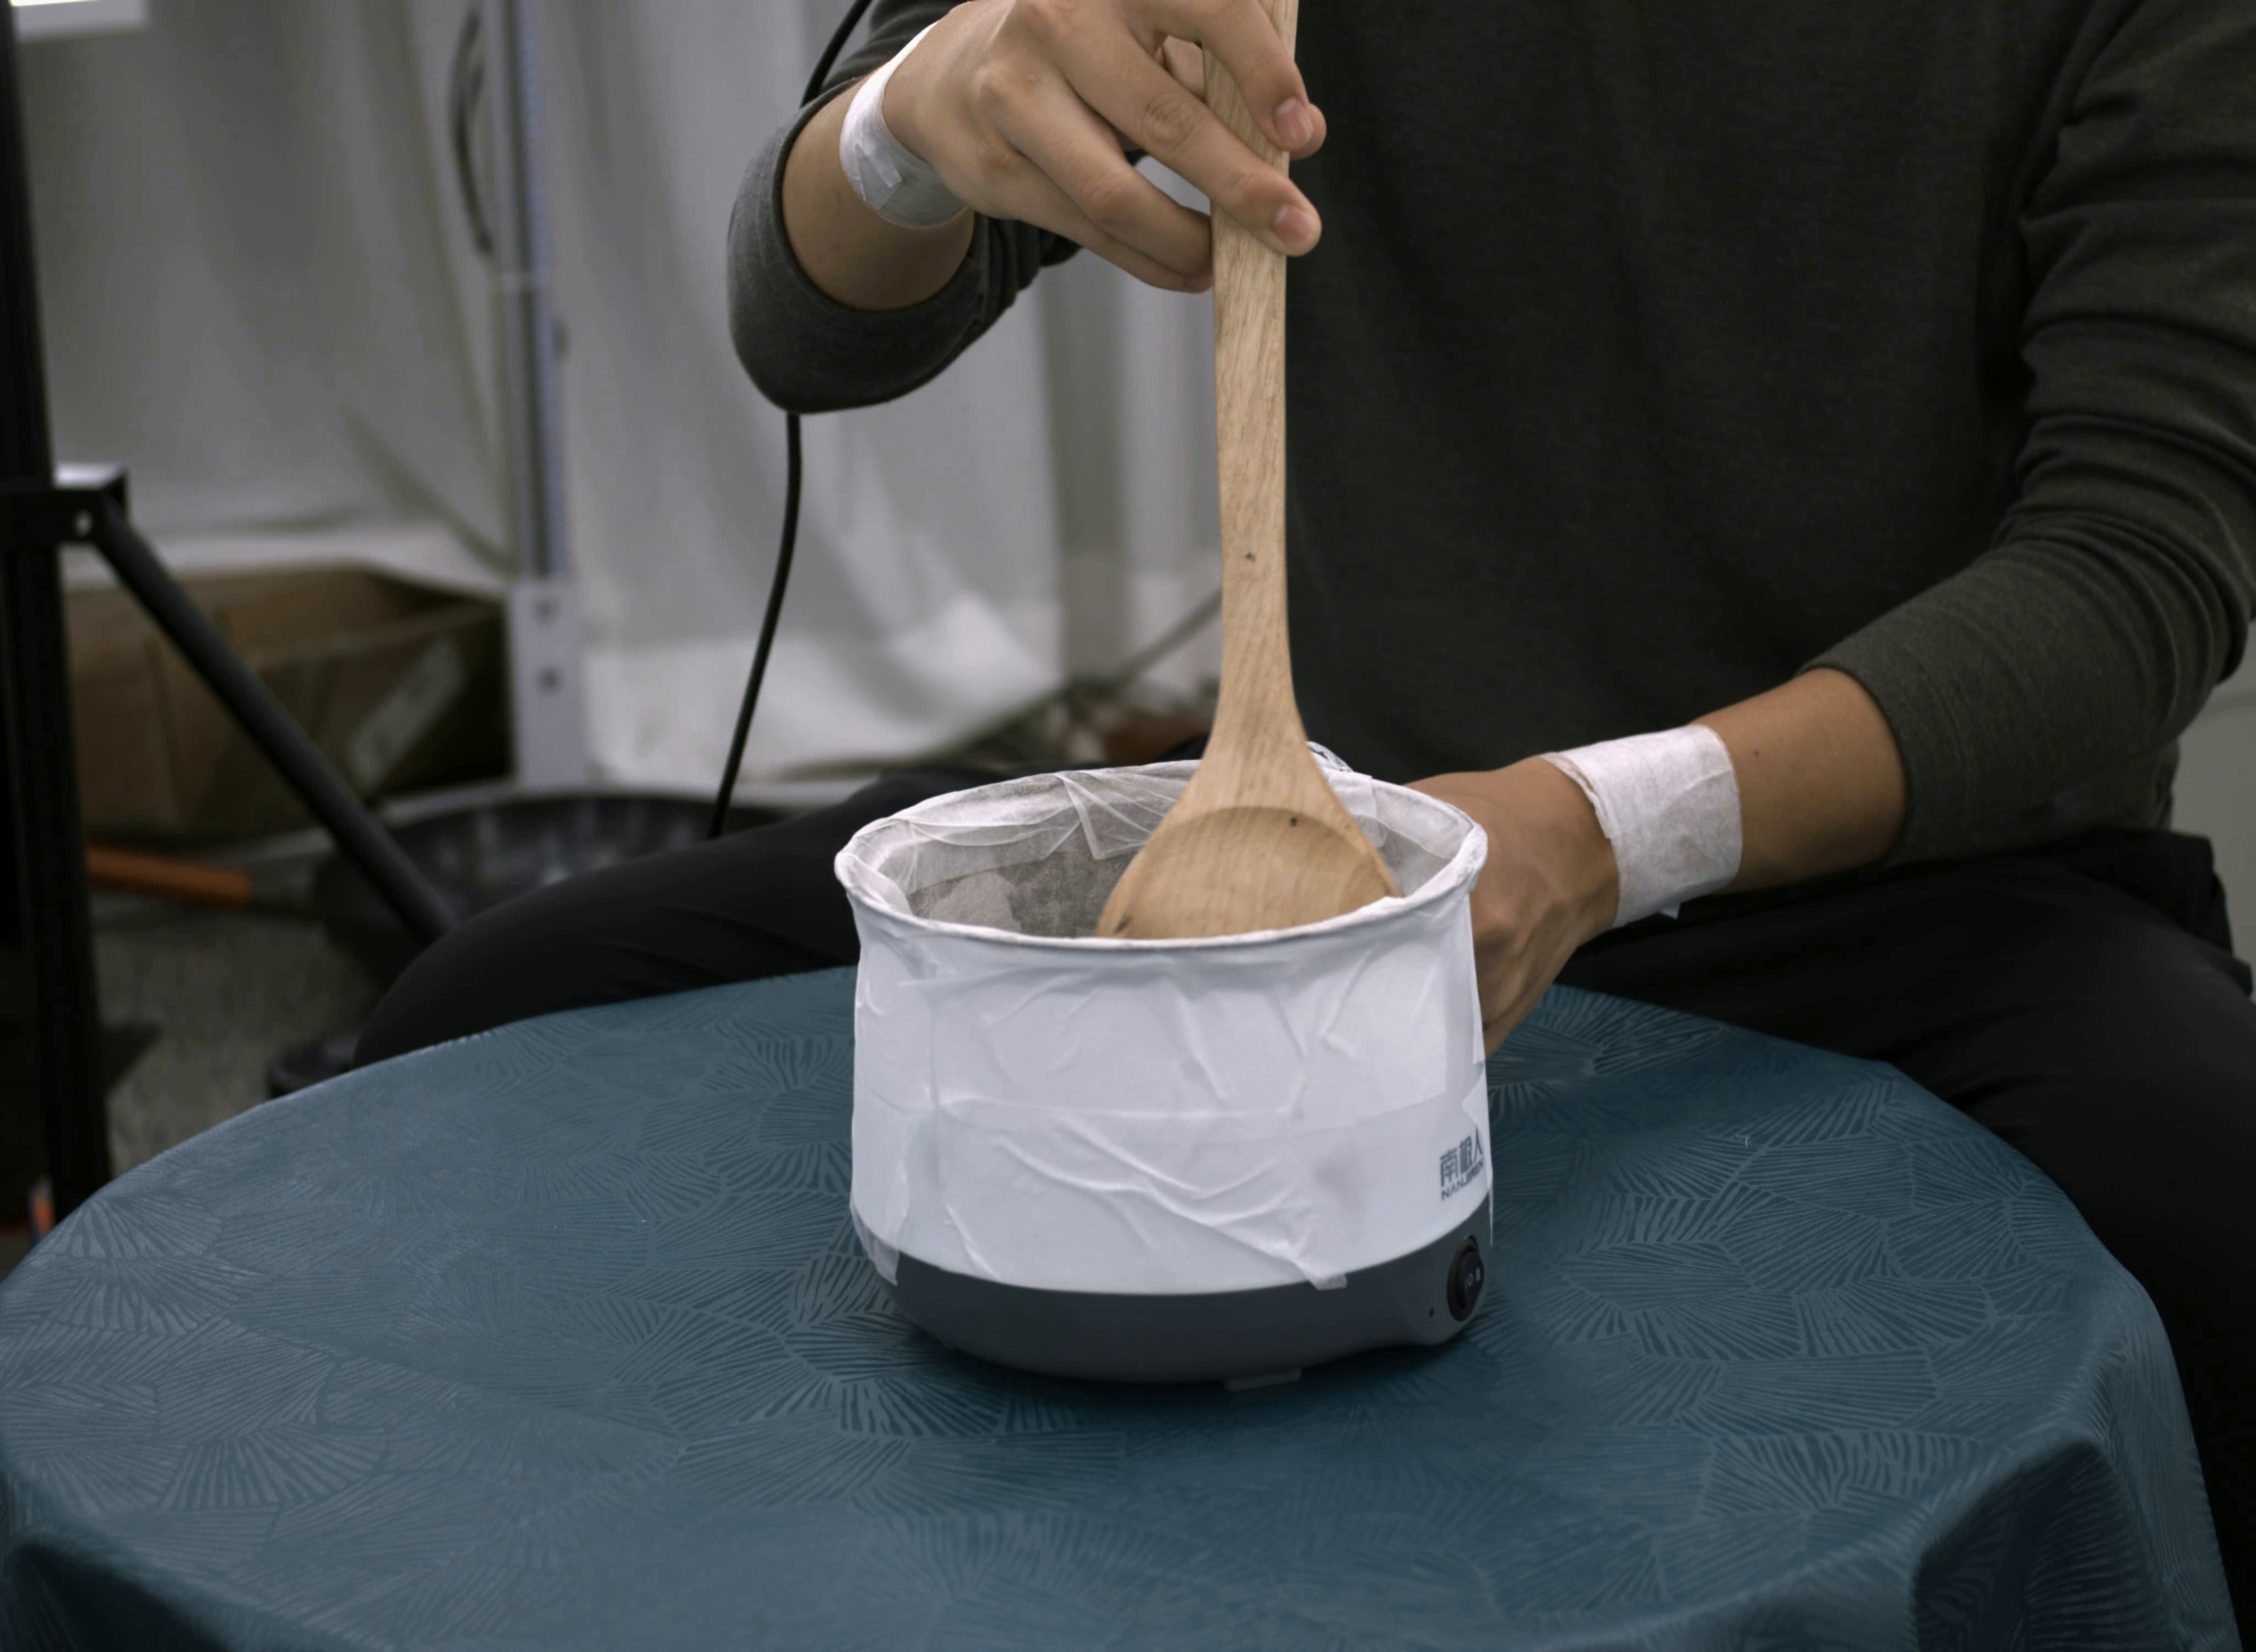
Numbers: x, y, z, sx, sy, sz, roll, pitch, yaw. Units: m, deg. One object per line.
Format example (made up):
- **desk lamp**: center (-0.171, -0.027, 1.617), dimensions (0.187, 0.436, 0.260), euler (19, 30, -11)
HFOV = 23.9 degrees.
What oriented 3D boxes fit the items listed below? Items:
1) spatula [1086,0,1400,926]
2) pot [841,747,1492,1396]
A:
- **spatula**: center (0.030, -0.109, 1.435), dimensions (0.096, 0.393, 0.018), euler (-1, -1, 18)
- **pot**: center (0.023, 0.061, 1.478), dimensions (0.181, 0.136, 0.230), euler (5, 16, 25)
